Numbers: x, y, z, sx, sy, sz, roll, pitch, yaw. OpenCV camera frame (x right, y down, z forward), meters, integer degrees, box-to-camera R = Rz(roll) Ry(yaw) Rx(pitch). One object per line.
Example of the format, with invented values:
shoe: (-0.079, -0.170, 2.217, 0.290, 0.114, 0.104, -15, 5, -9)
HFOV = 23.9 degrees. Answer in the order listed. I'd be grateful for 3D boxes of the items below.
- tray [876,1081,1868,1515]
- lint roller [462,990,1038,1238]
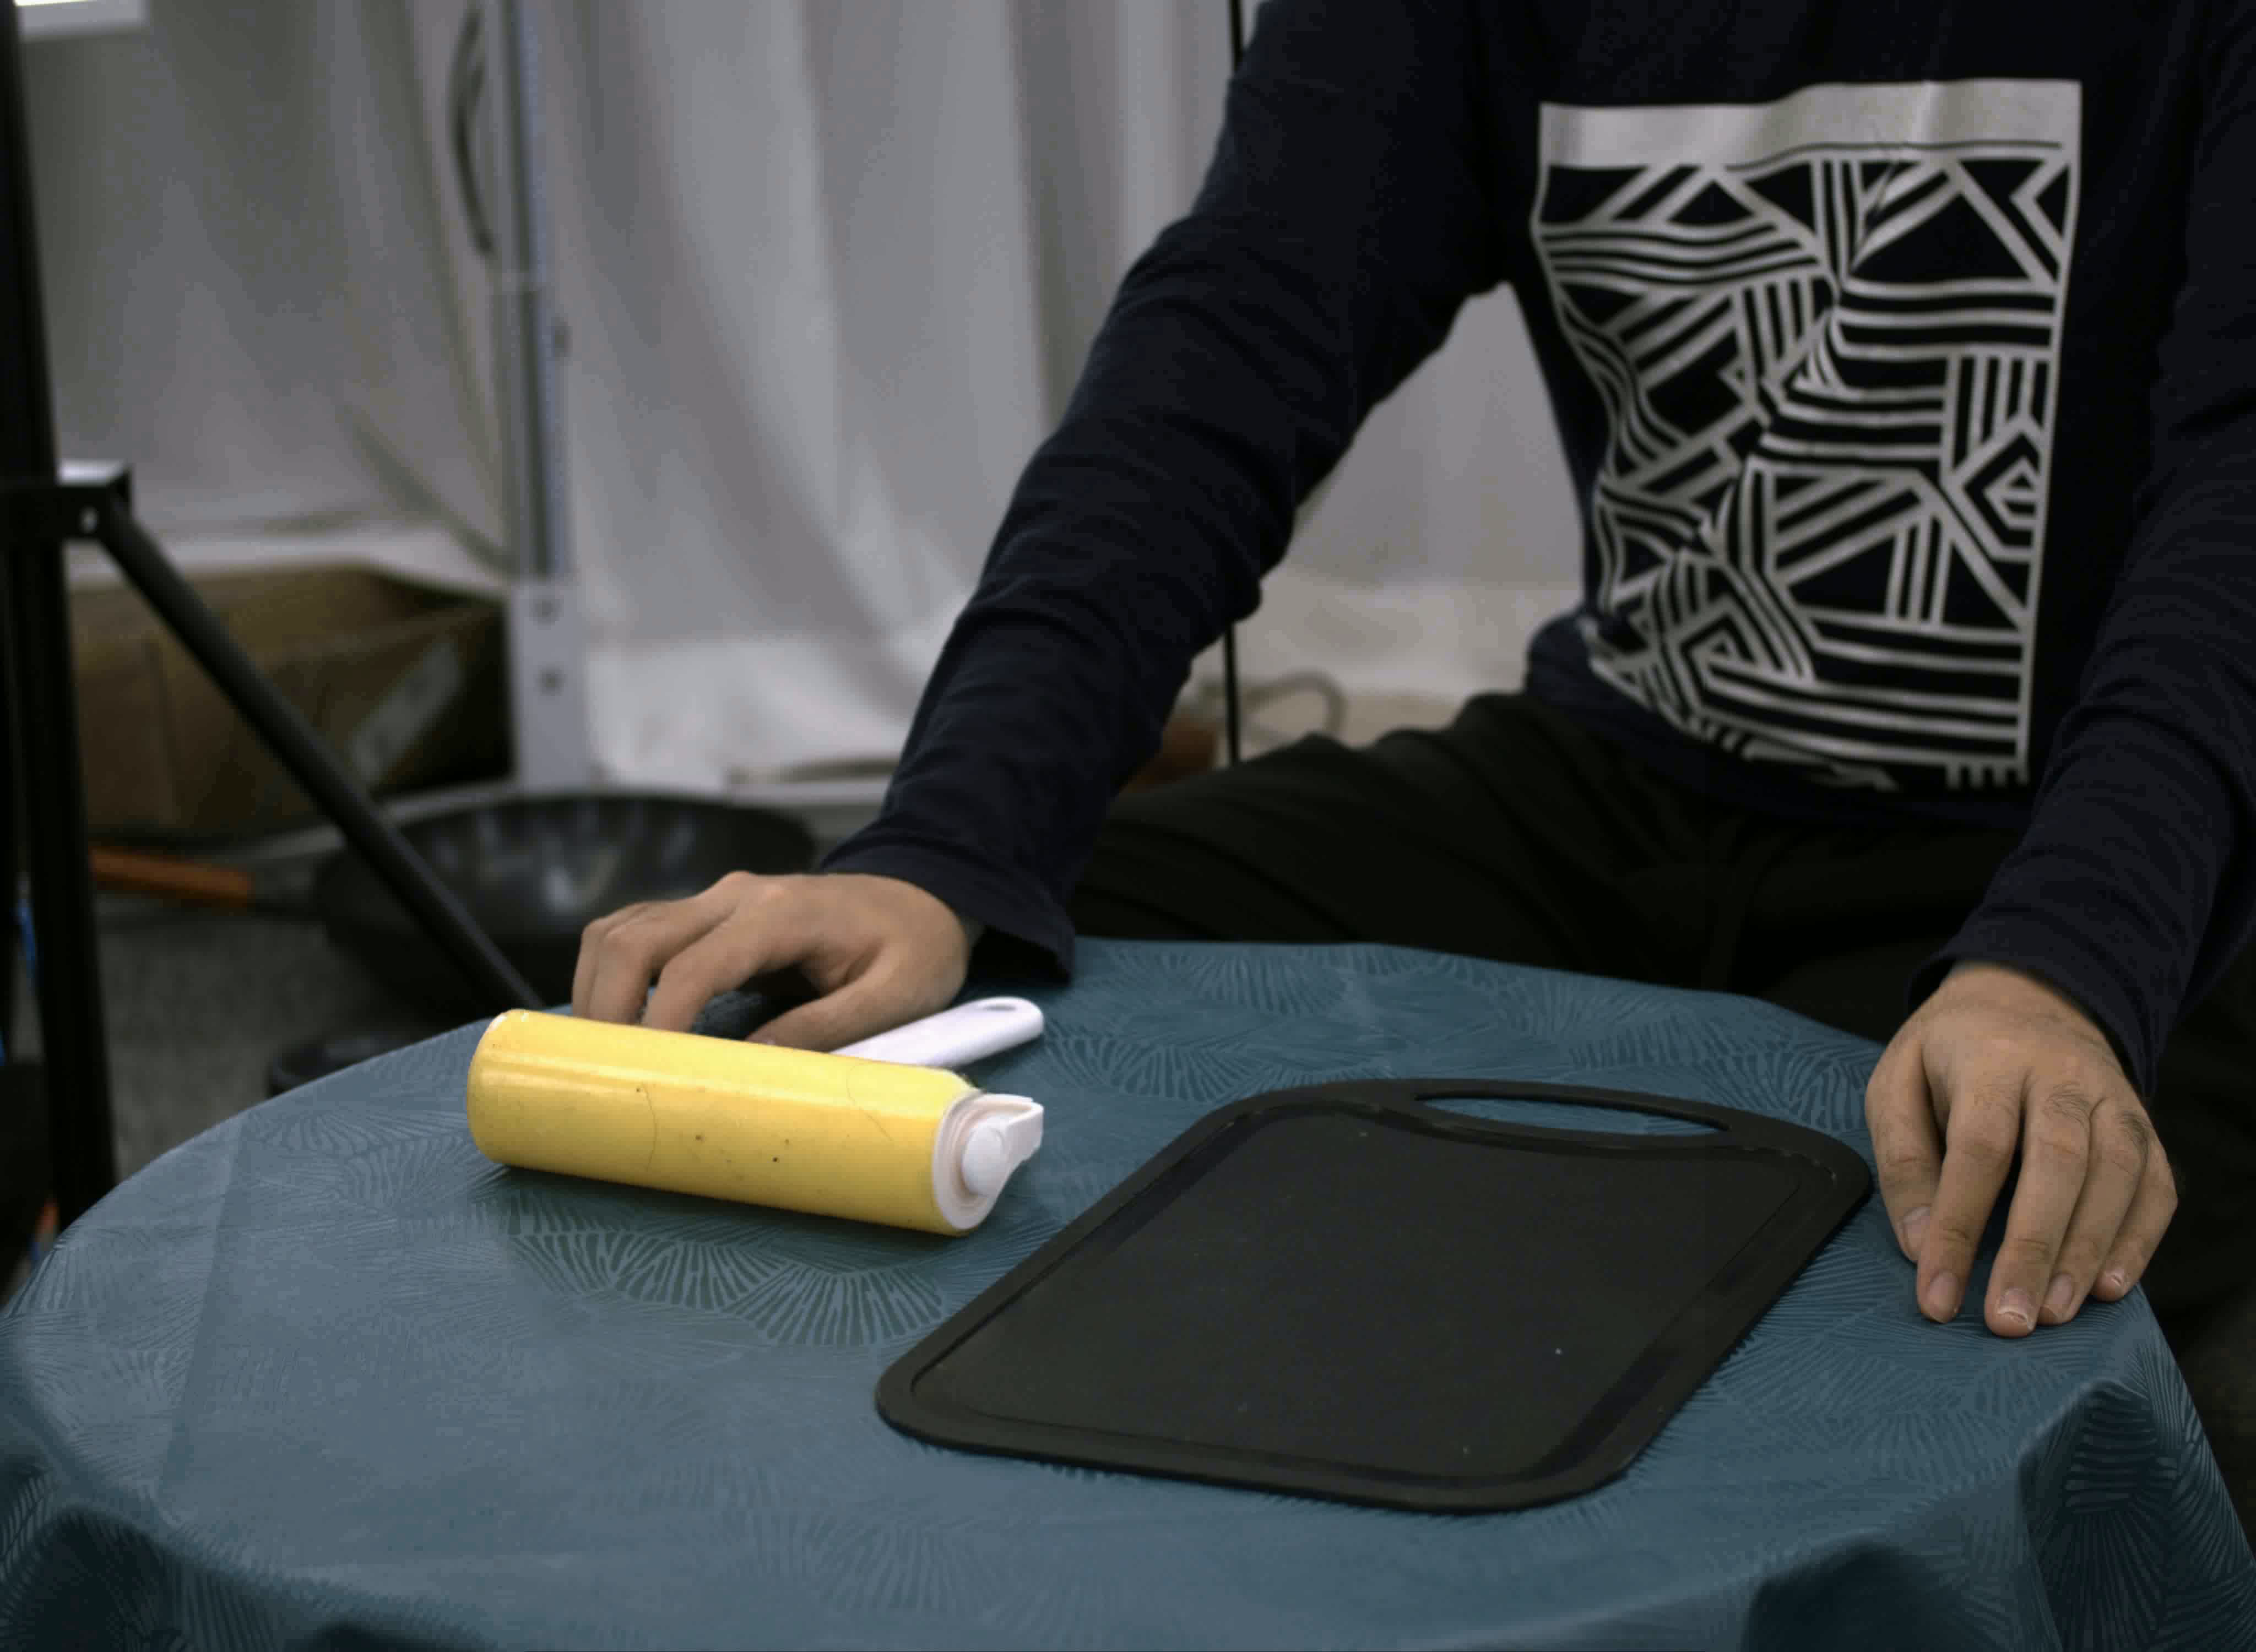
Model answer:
tray: (0.078, 0.122, 1.488, 0.214, 0.010, 0.320, 5, 17, 24)
lint roller: (-0.085, 0.067, 1.629, 0.177, 0.051, 0.189, 7, 21, 27)
